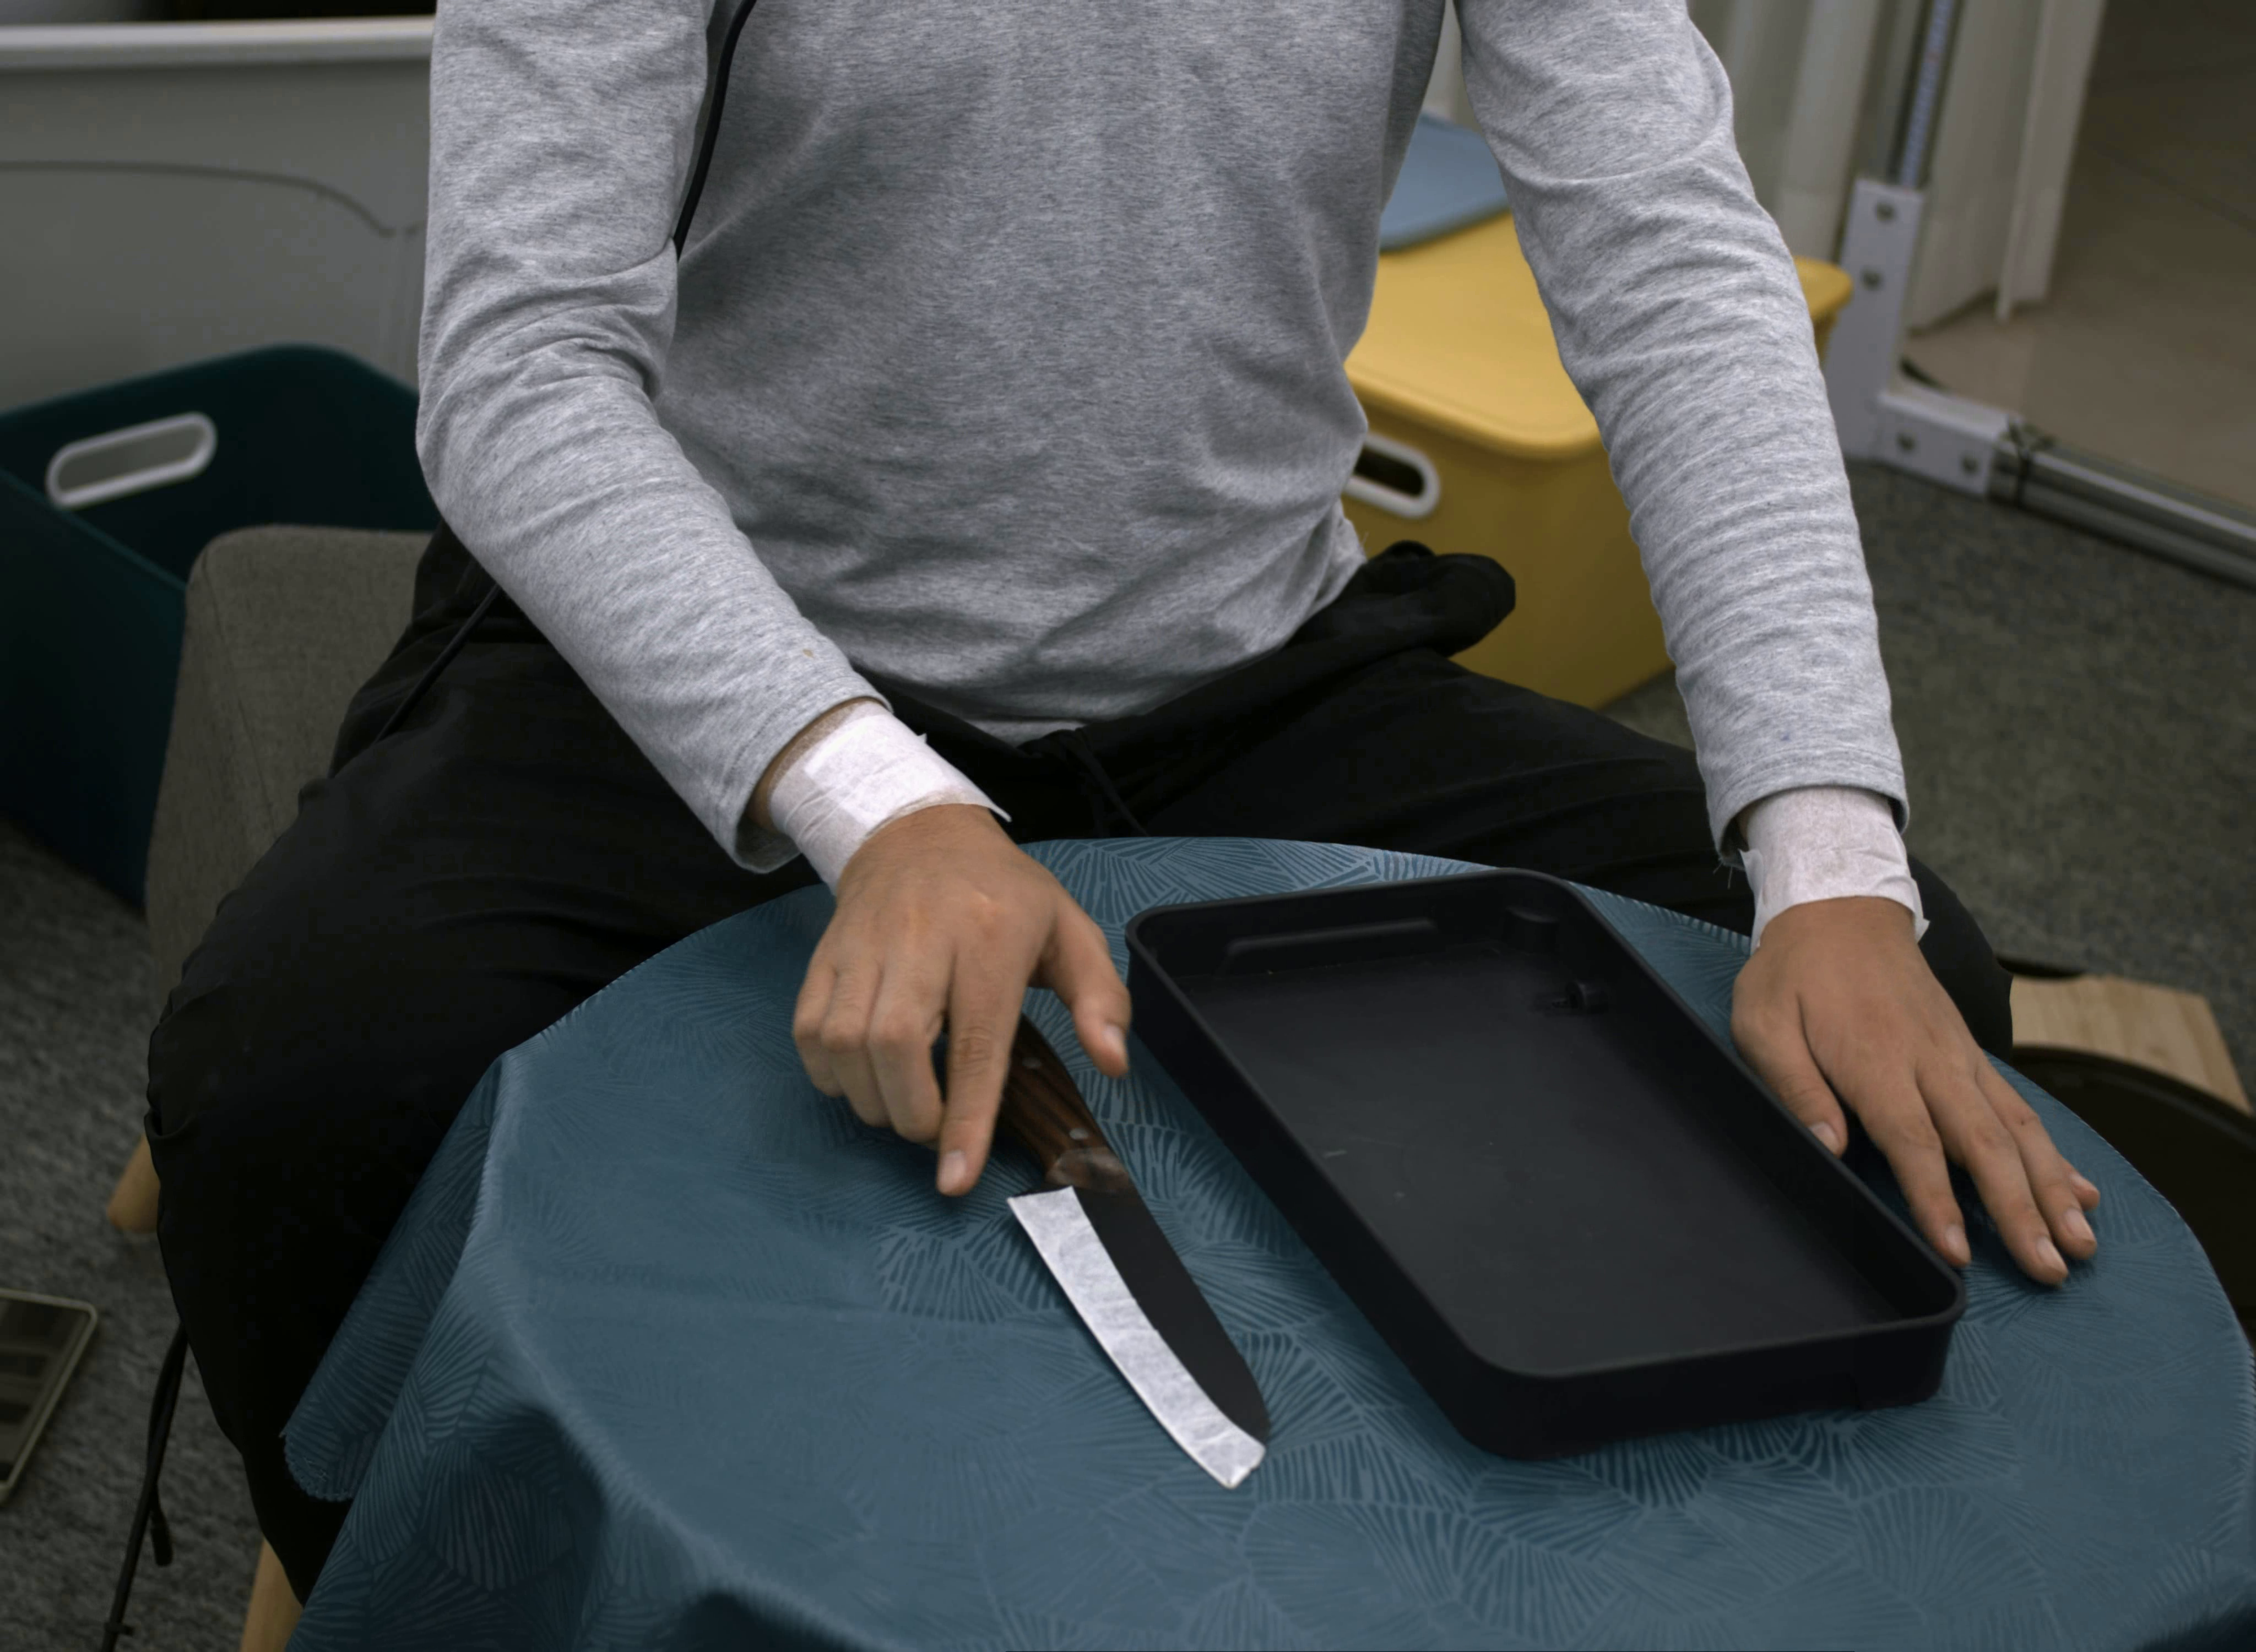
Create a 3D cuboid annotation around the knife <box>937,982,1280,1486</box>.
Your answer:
[{"bbox_3d":[-0.010,0.133,1.769,0.050,0.020,0.292,-8,32,-17],"label":"knife"}]

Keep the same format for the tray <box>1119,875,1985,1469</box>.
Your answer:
[{"bbox_3d":[0.137,0.111,1.822,0.183,0.037,0.321,-7,29,-24],"label":"tray"}]
